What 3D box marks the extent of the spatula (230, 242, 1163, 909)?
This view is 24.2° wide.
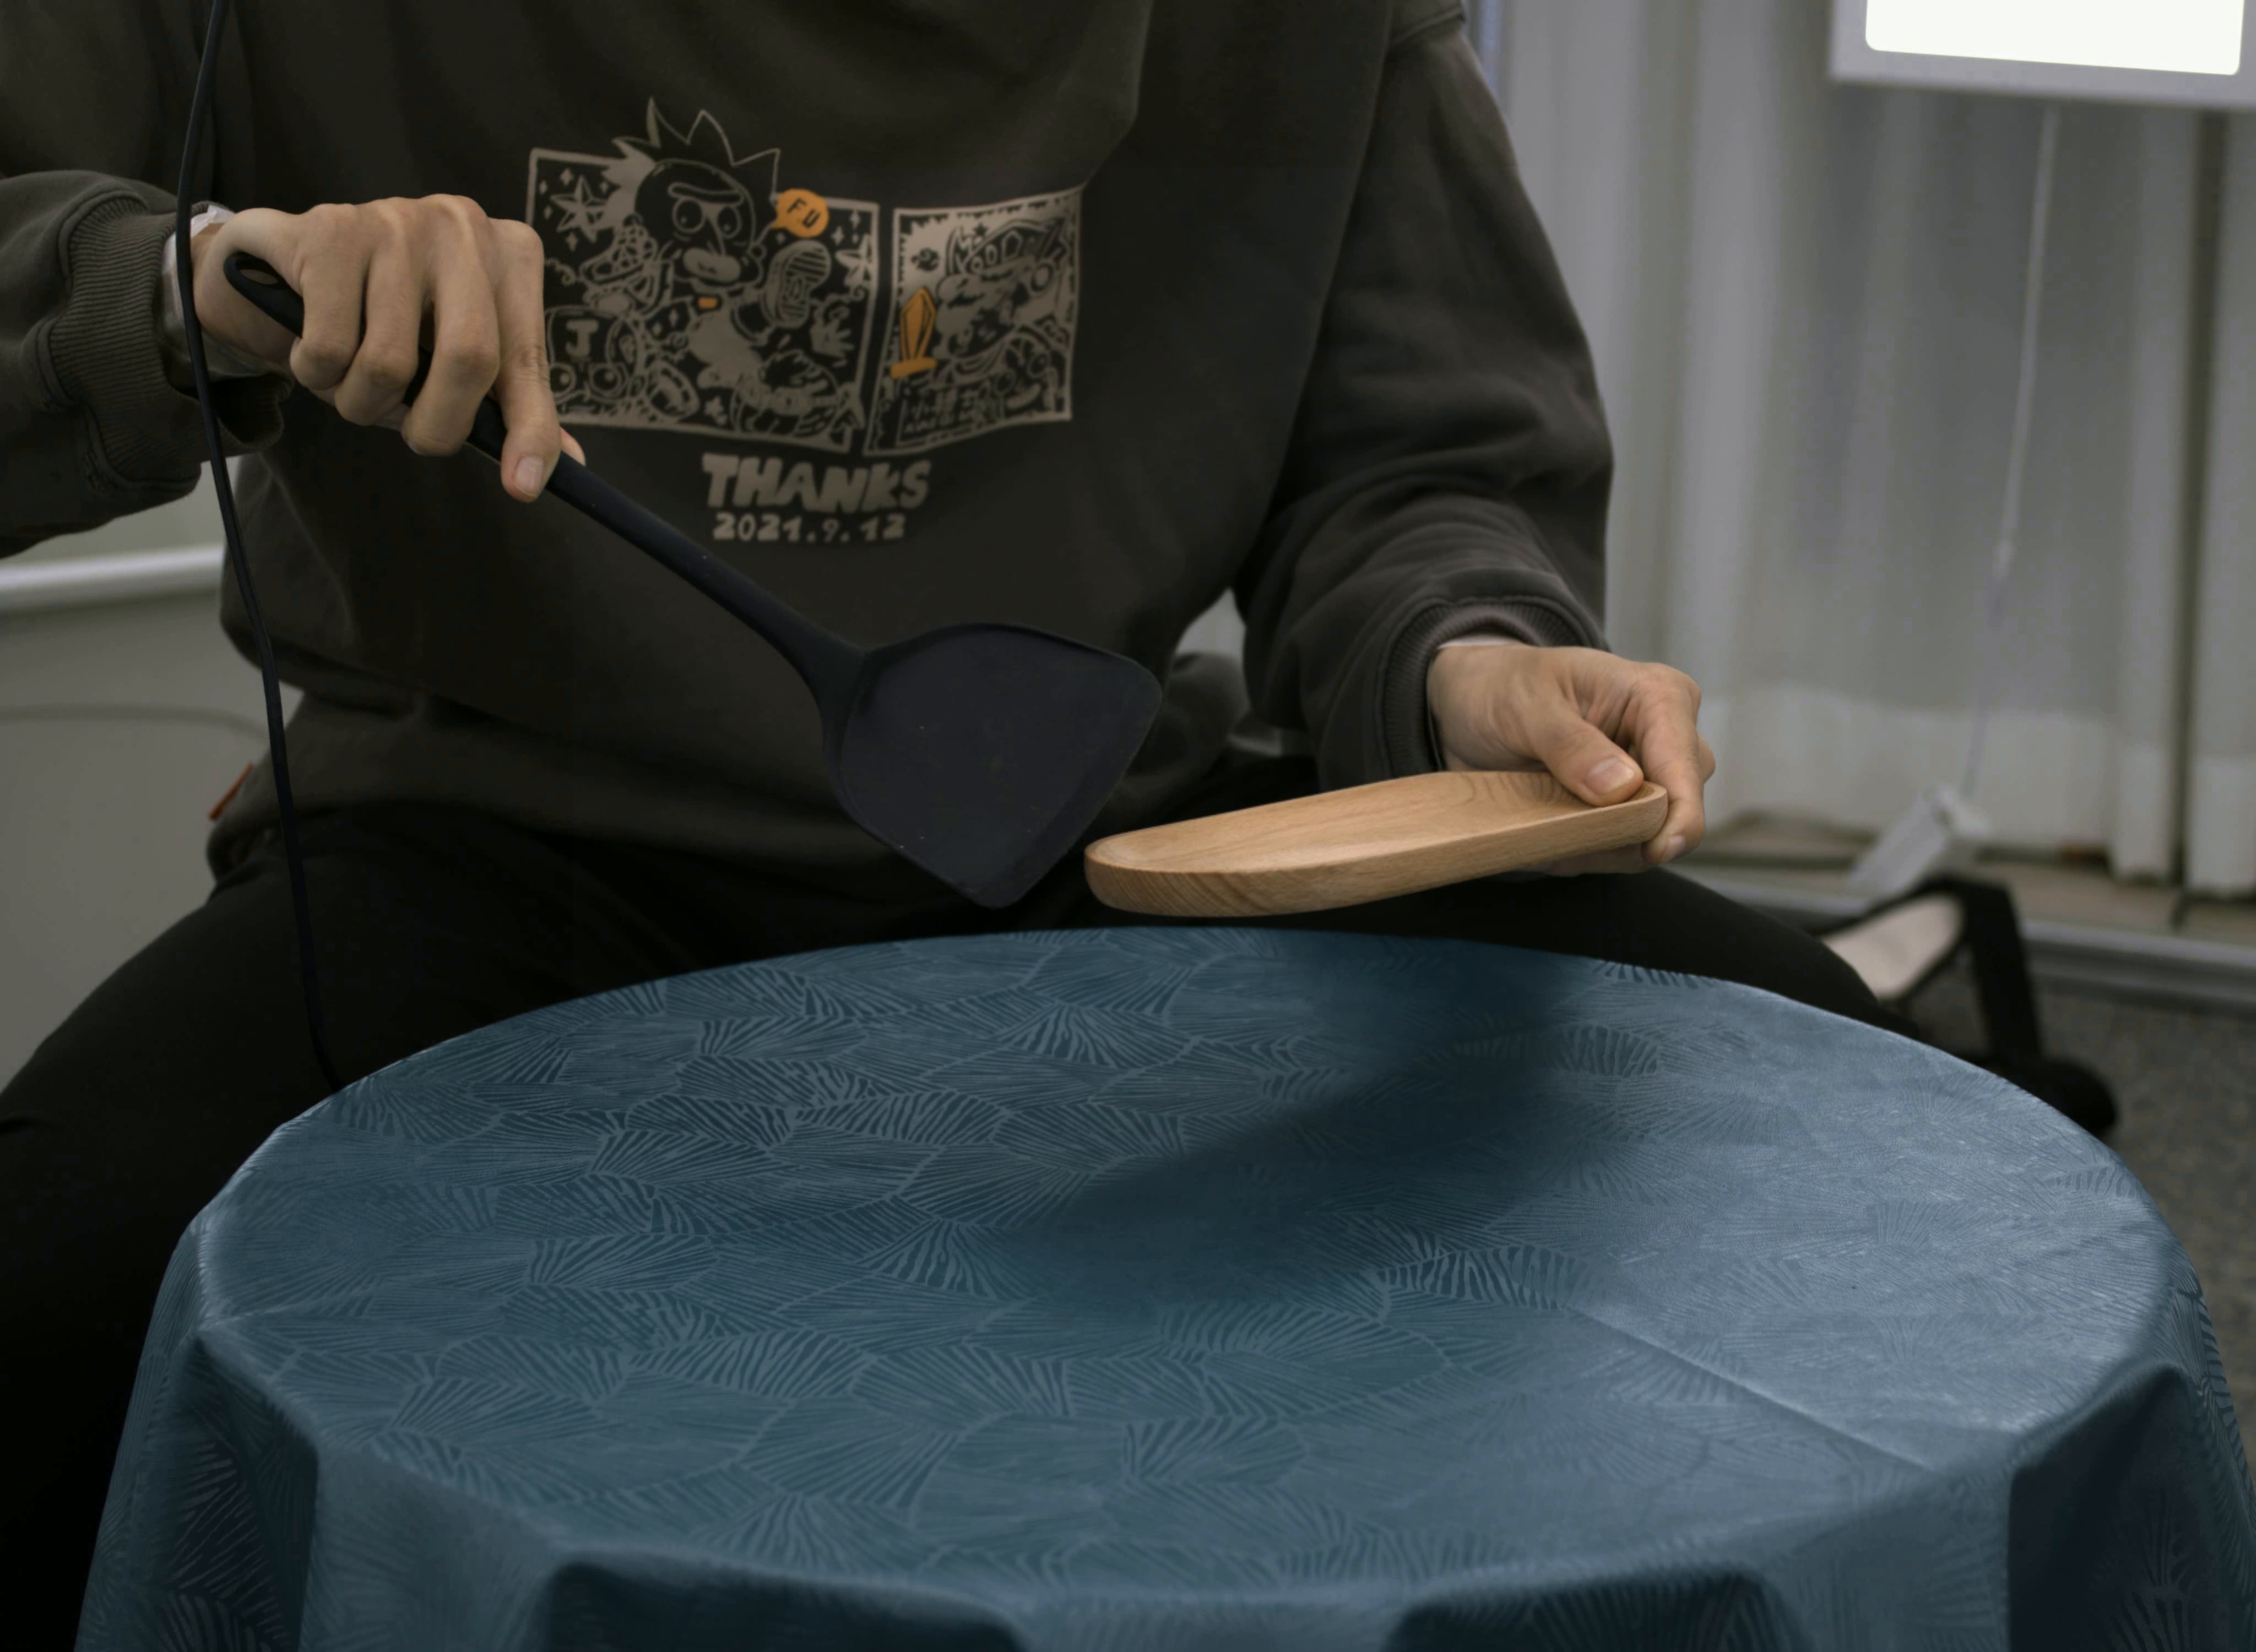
[{"bbox_3d":[-0.144,-0.092,1.630,0.325,0.040,0.099,35,64,1],"label":"spatula"}]

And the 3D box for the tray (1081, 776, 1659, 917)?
[{"bbox_3d":[0.079,0.006,1.662,0.100,0.020,0.232,5,11,41],"label":"tray"}]
